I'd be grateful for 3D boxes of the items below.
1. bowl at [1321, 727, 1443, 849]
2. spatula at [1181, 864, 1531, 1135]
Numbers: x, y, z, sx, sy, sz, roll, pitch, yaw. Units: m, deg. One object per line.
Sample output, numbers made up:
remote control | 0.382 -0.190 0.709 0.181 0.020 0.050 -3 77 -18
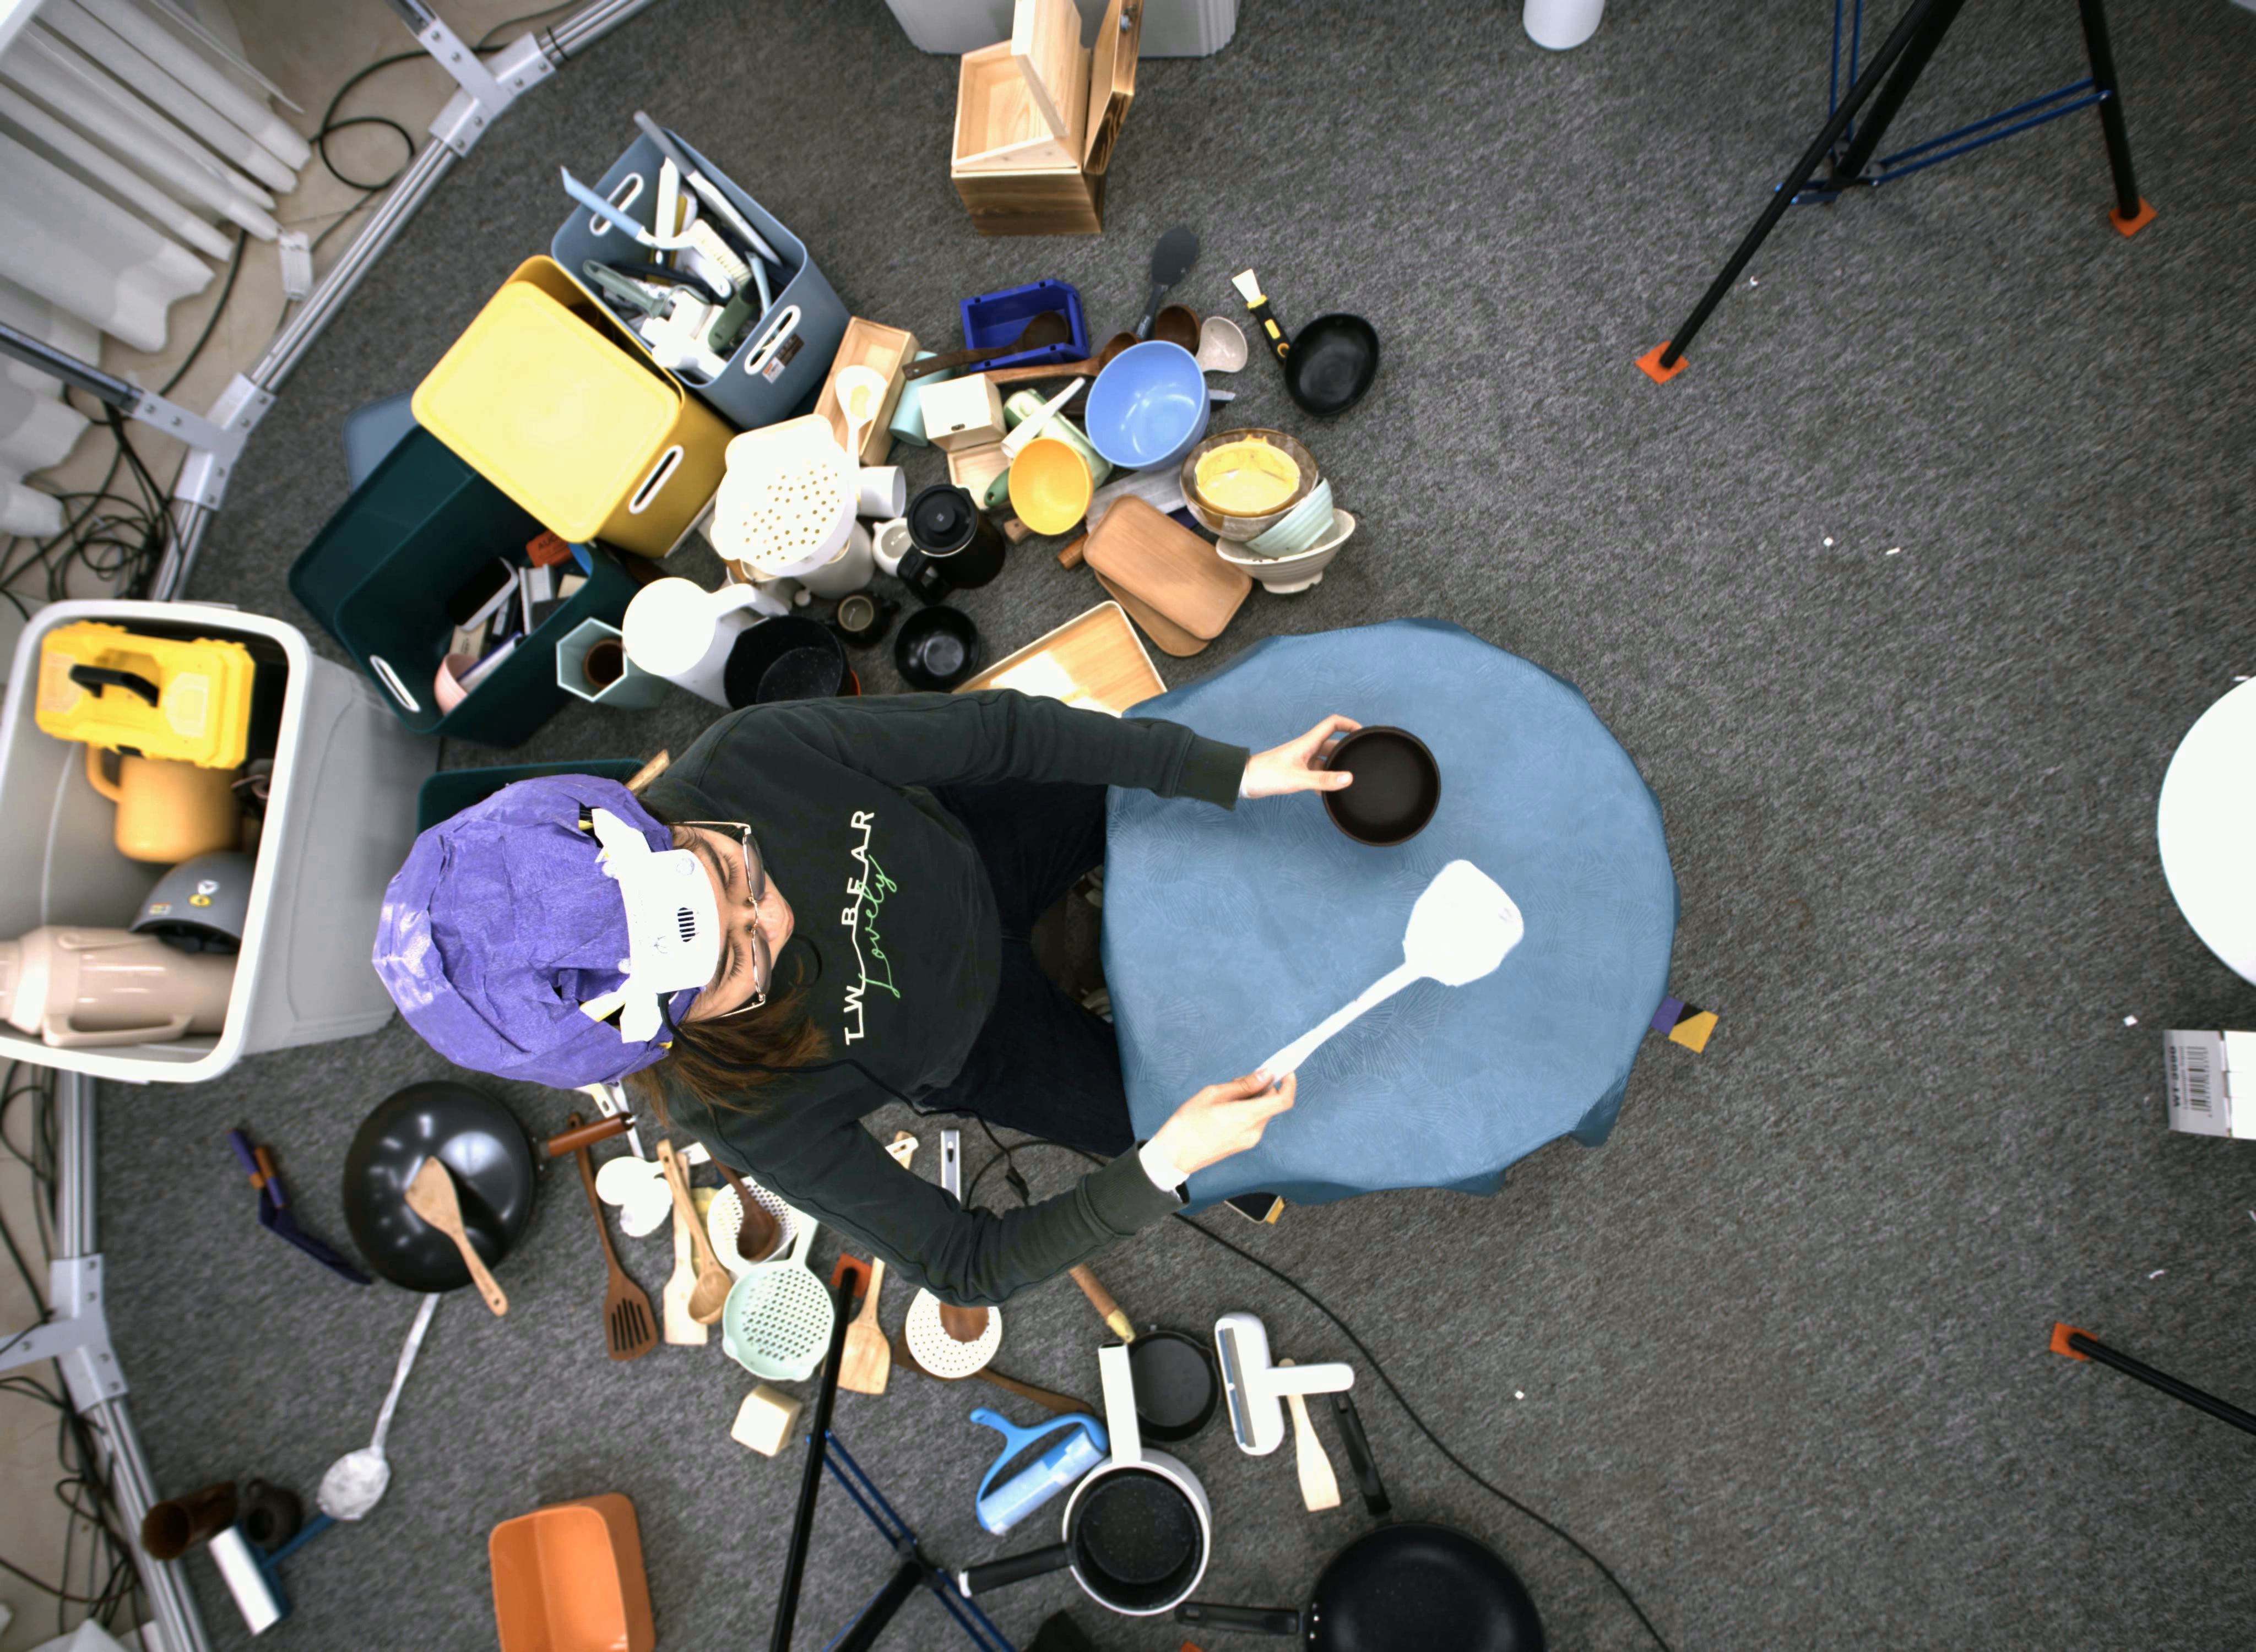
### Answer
bowl | 0.249 -0.041 1.356 0.118 0.069 0.119 2 101 10
spatula | 0.197 0.170 1.245 0.365 0.045 0.097 -35 60 0
